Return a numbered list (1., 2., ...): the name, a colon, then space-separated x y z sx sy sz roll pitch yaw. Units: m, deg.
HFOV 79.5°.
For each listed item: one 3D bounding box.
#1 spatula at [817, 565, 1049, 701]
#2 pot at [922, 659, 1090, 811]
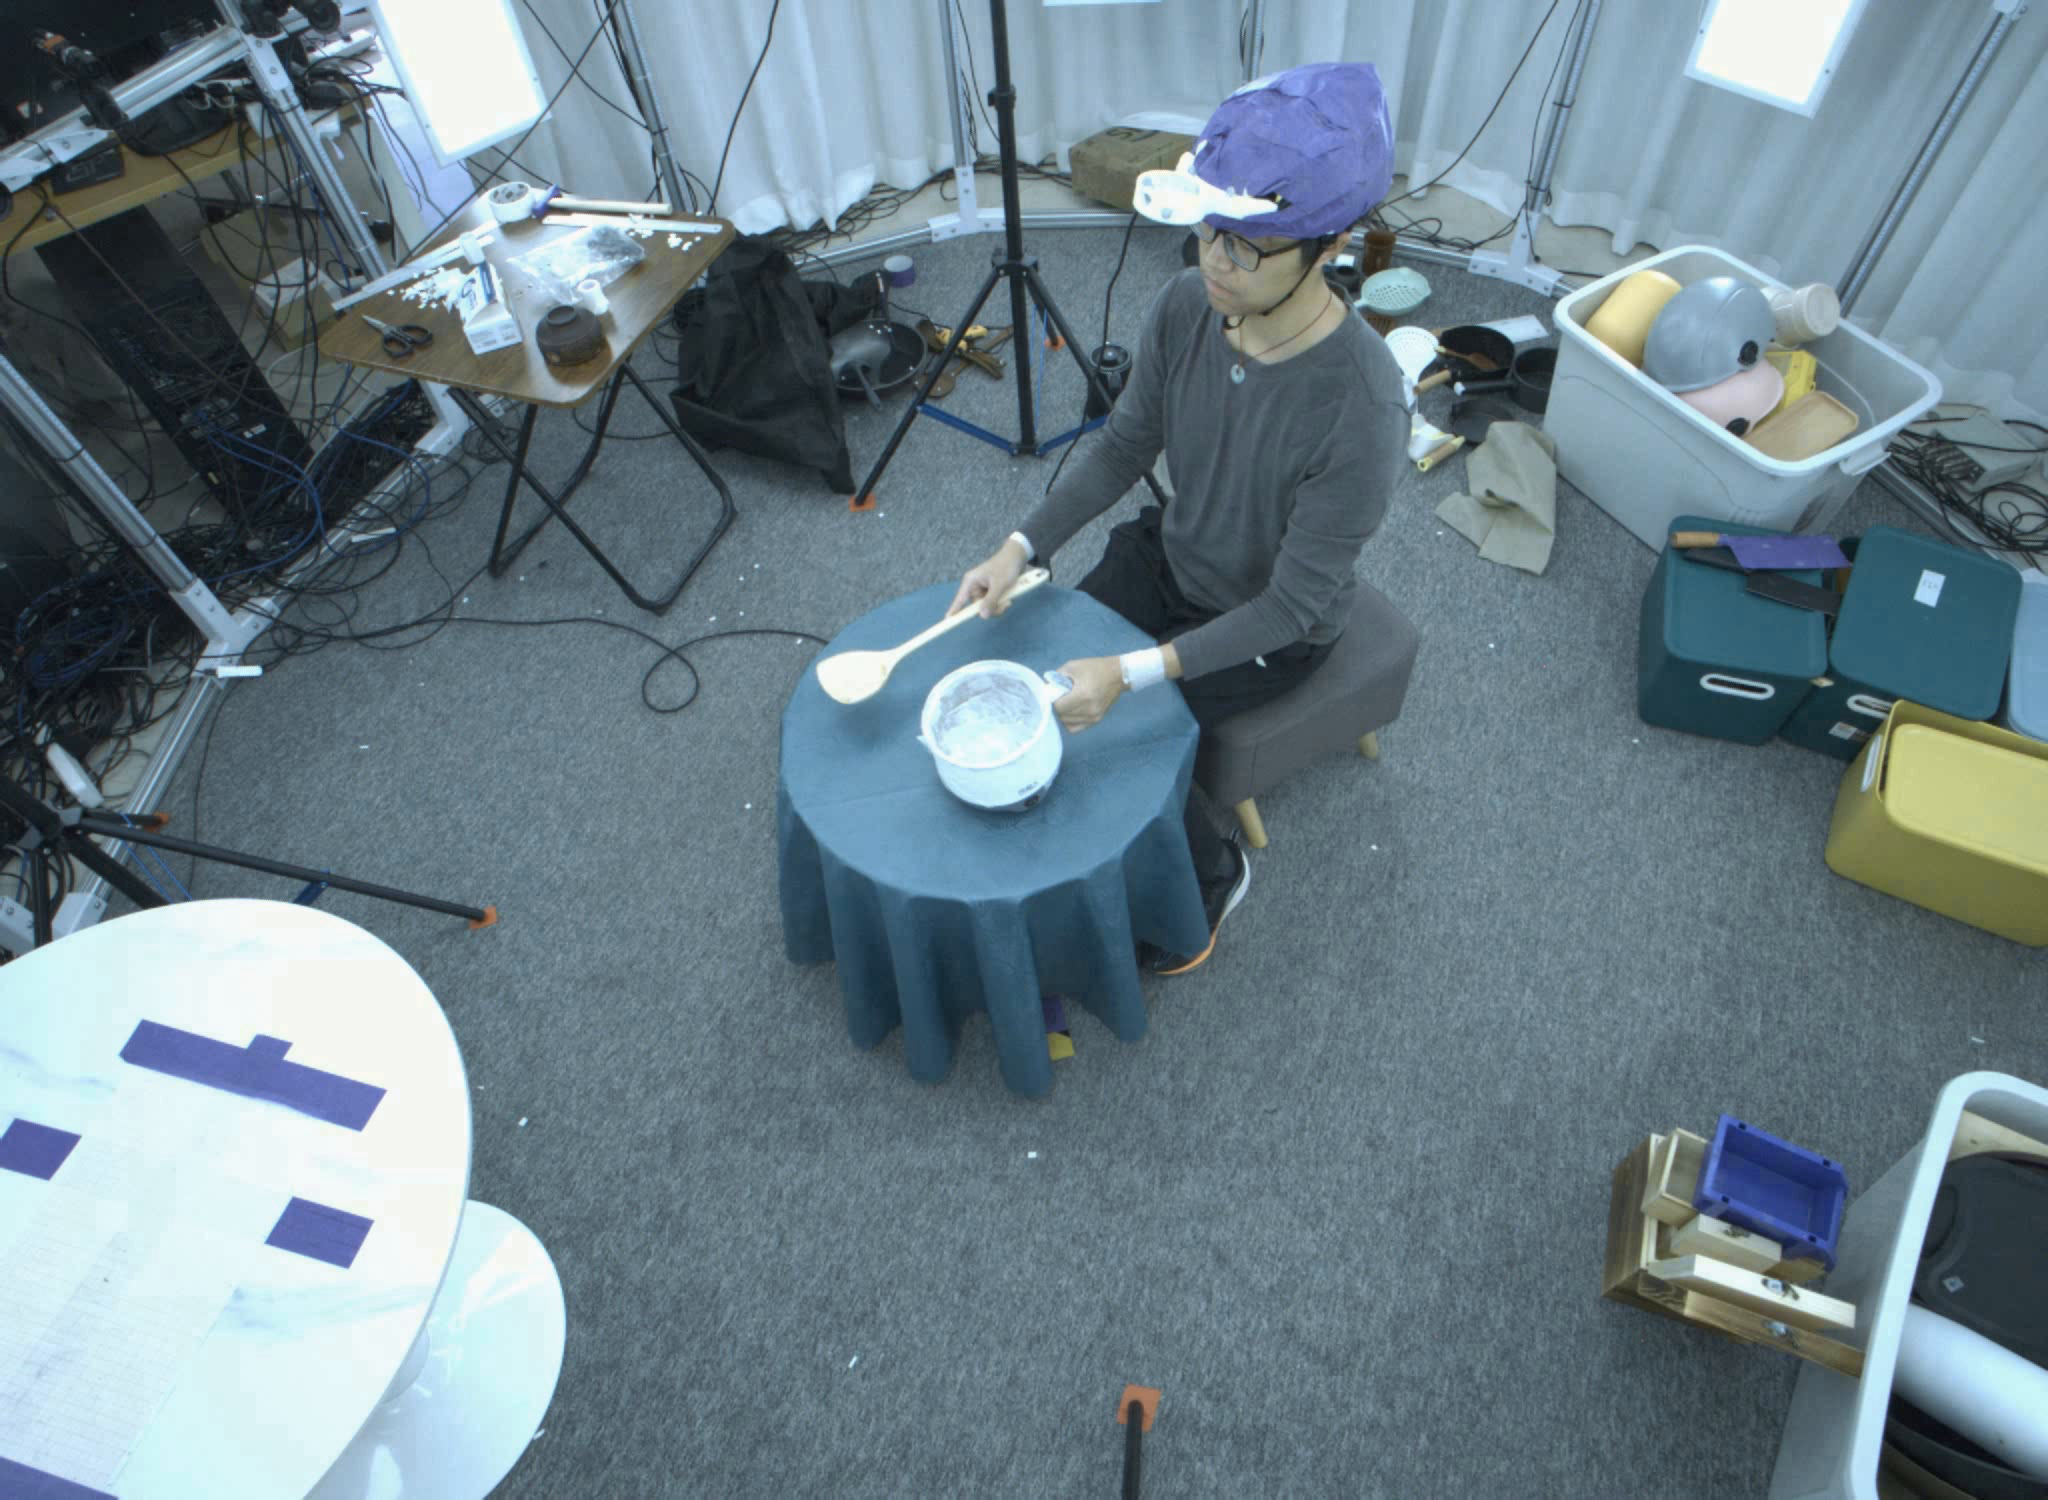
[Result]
1. spatula: -0.128 -0.187 1.823 0.393 0.018 0.094 -32 61 -16
2. pot: -0.017 -0.031 1.704 0.235 0.138 0.175 -31 59 -11
